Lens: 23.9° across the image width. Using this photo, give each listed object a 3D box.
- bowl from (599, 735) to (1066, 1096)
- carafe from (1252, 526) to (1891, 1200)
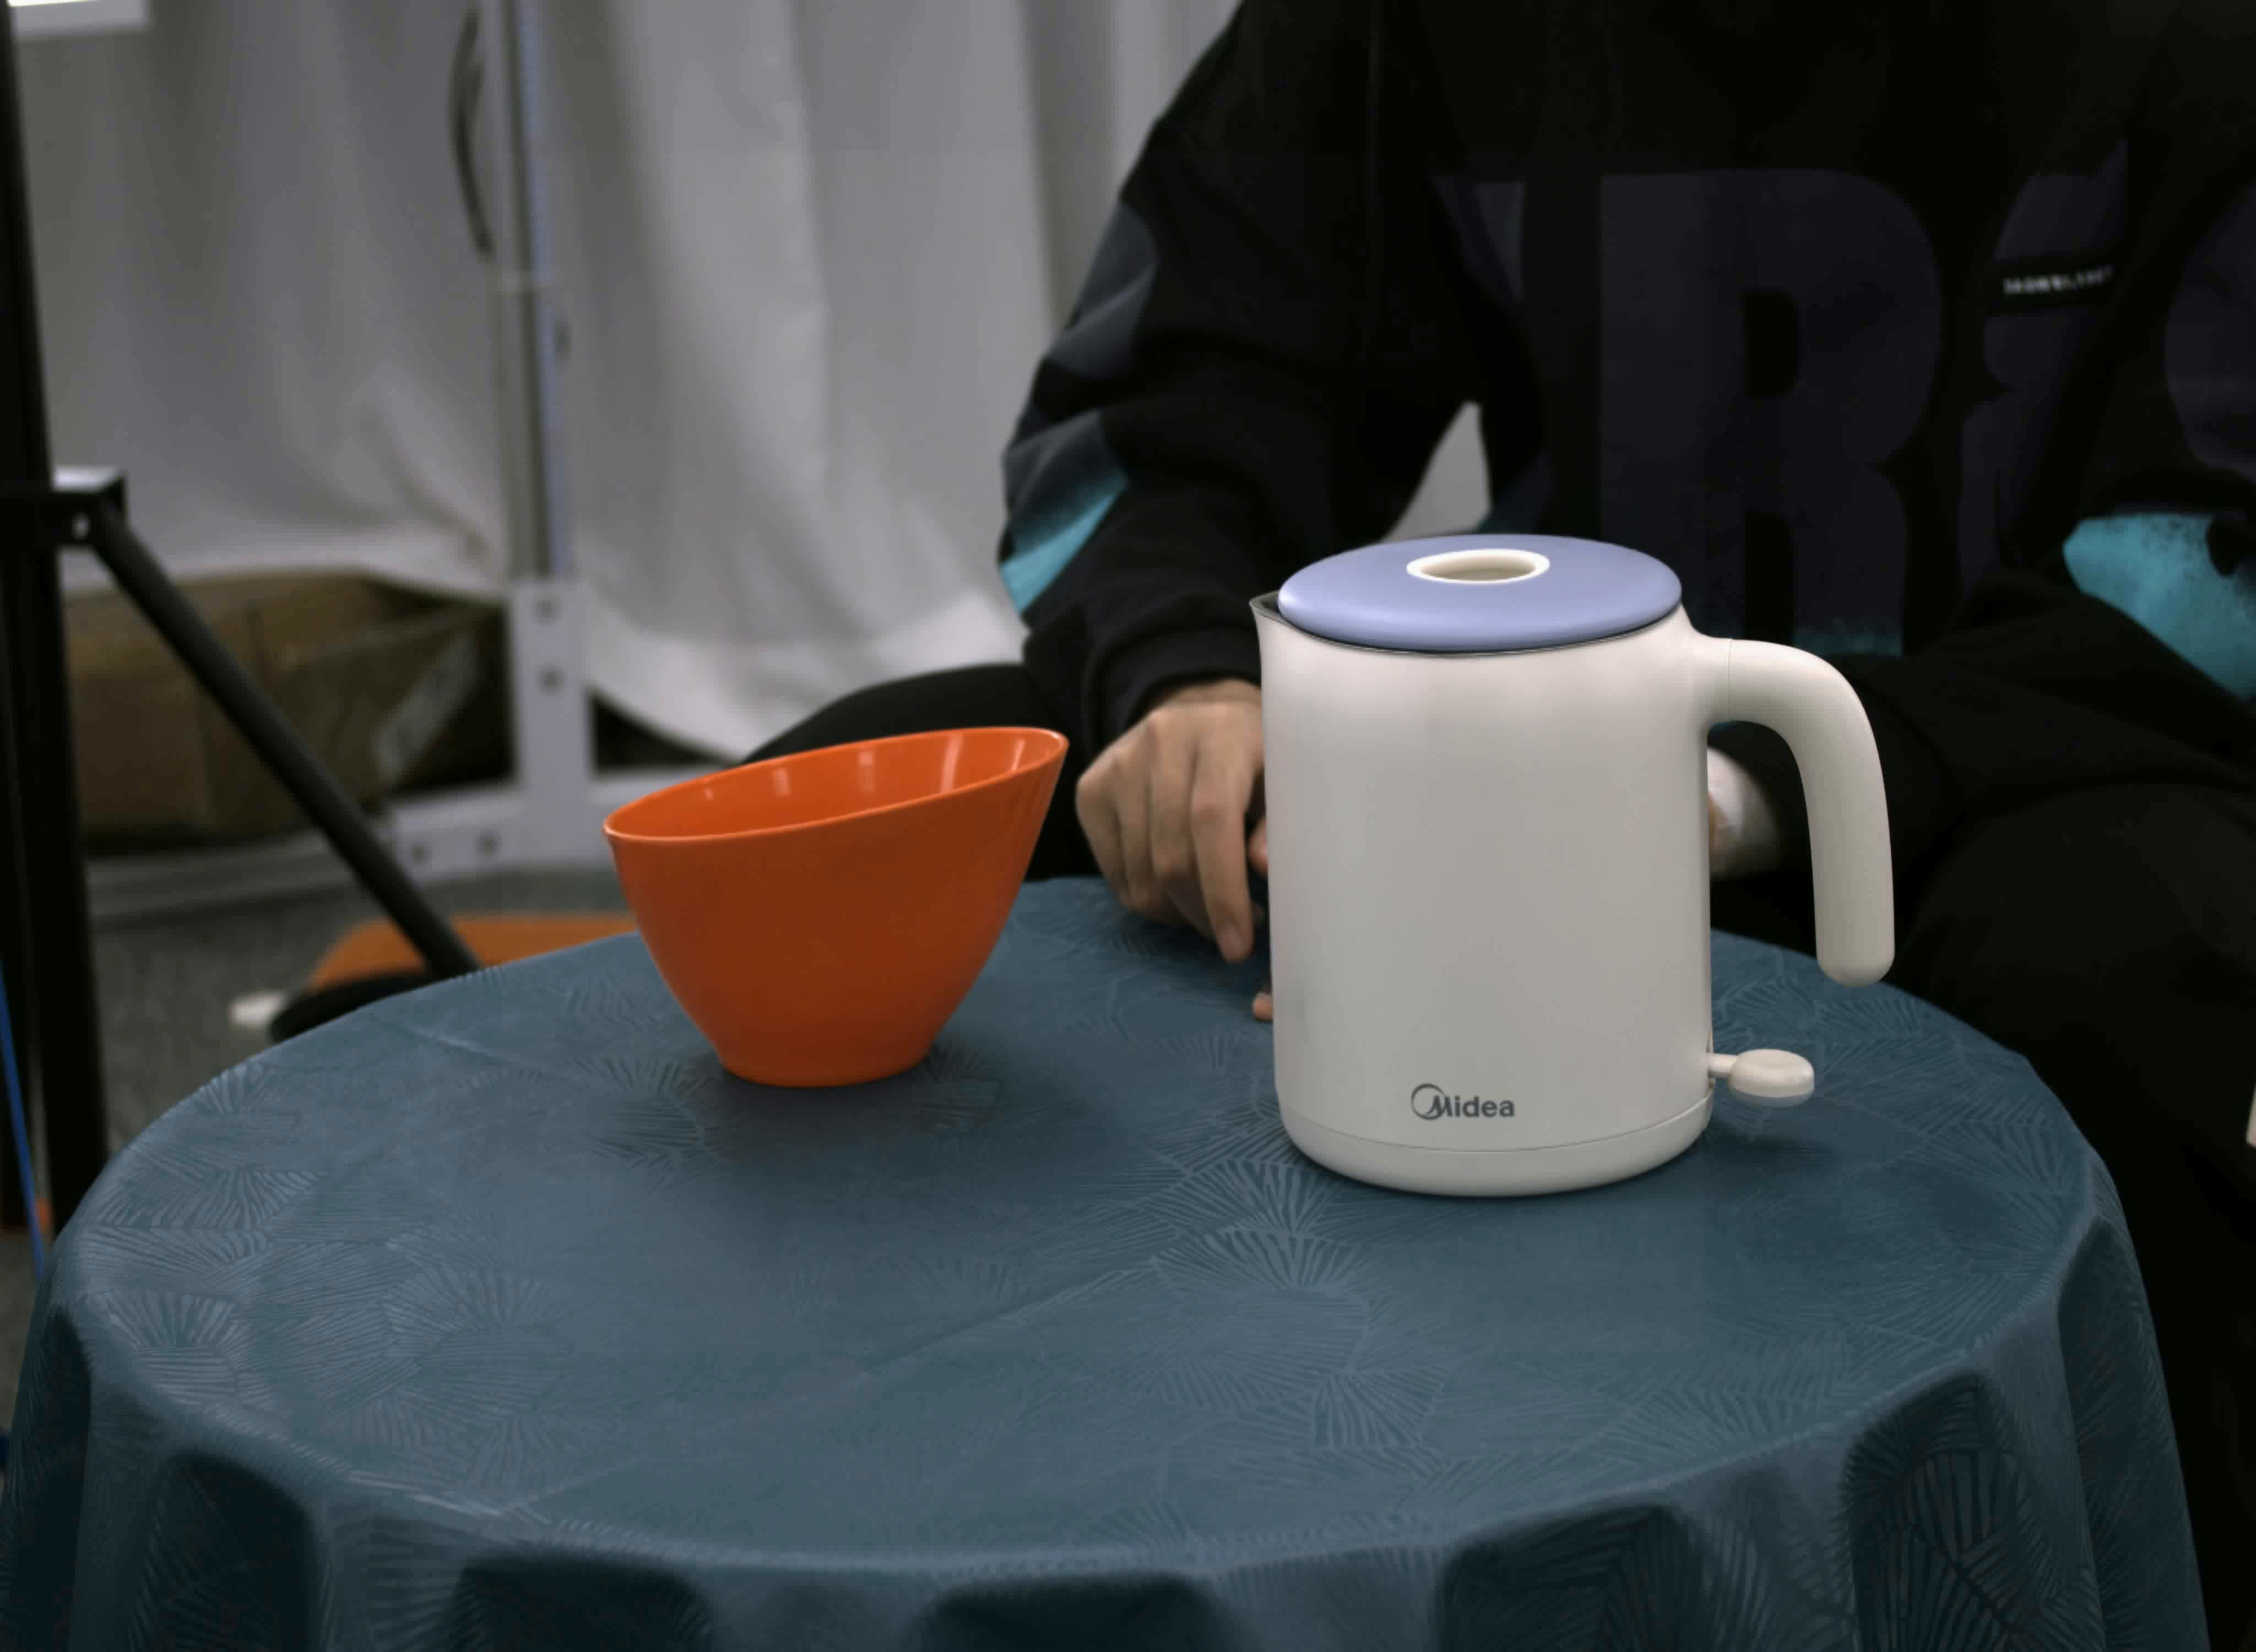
[{"bbox_3d":[-0.092,0.028,1.675,0.147,0.104,0.149,-2,16,-1],"label":"bowl"},{"bbox_3d":[0.130,0.011,1.565,0.192,0.182,0.131,3,17,11],"label":"carafe"}]
